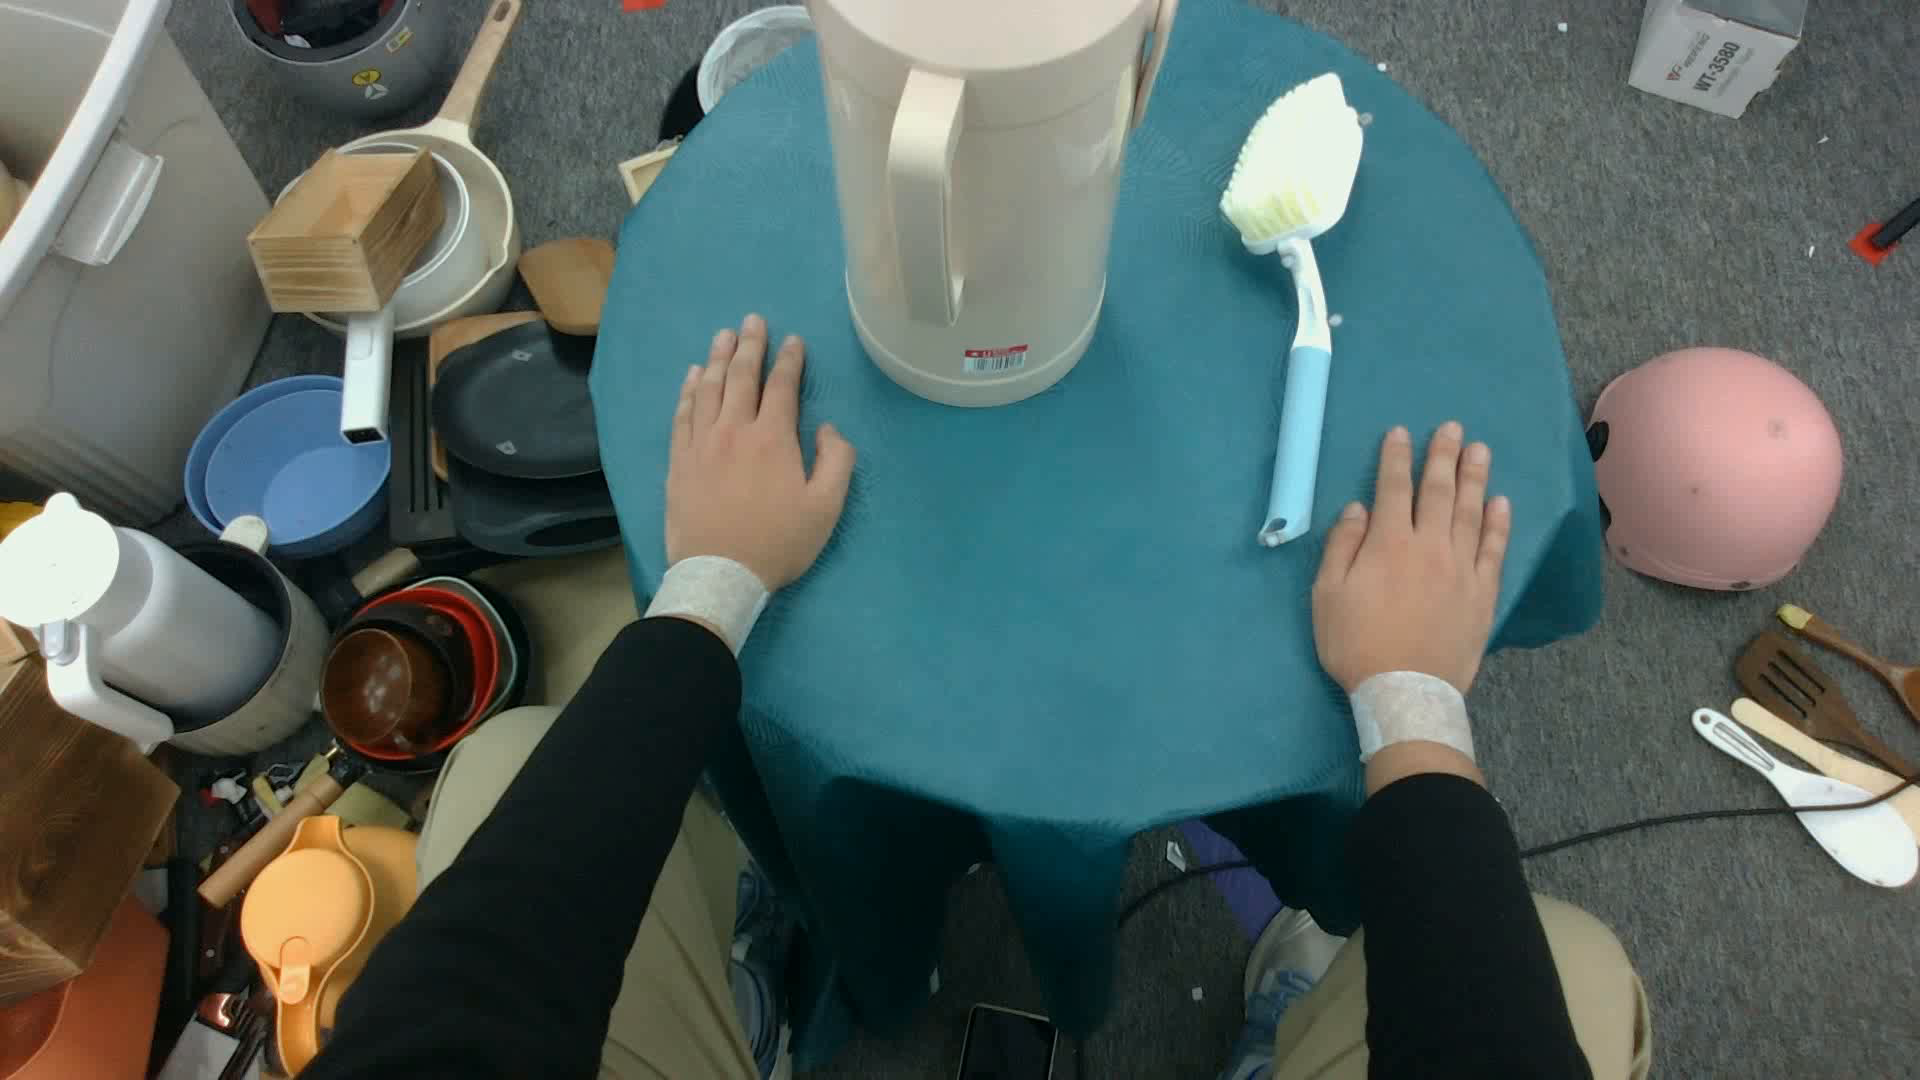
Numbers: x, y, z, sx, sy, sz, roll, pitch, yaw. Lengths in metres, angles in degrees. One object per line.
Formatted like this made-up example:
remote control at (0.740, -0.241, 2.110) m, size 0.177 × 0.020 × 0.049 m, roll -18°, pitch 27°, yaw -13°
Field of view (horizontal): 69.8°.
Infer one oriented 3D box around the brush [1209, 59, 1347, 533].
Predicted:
brush at (0.185, -0.162, 0.818) m, size 0.084 × 0.083 × 0.326 m, roll 13°, pitch 67°, yaw -2°

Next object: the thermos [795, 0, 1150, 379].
thermos at (-0.005, -0.227, 0.672) m, size 0.175 × 0.405 × 0.208 m, roll 13°, pitch 69°, yaw 3°
